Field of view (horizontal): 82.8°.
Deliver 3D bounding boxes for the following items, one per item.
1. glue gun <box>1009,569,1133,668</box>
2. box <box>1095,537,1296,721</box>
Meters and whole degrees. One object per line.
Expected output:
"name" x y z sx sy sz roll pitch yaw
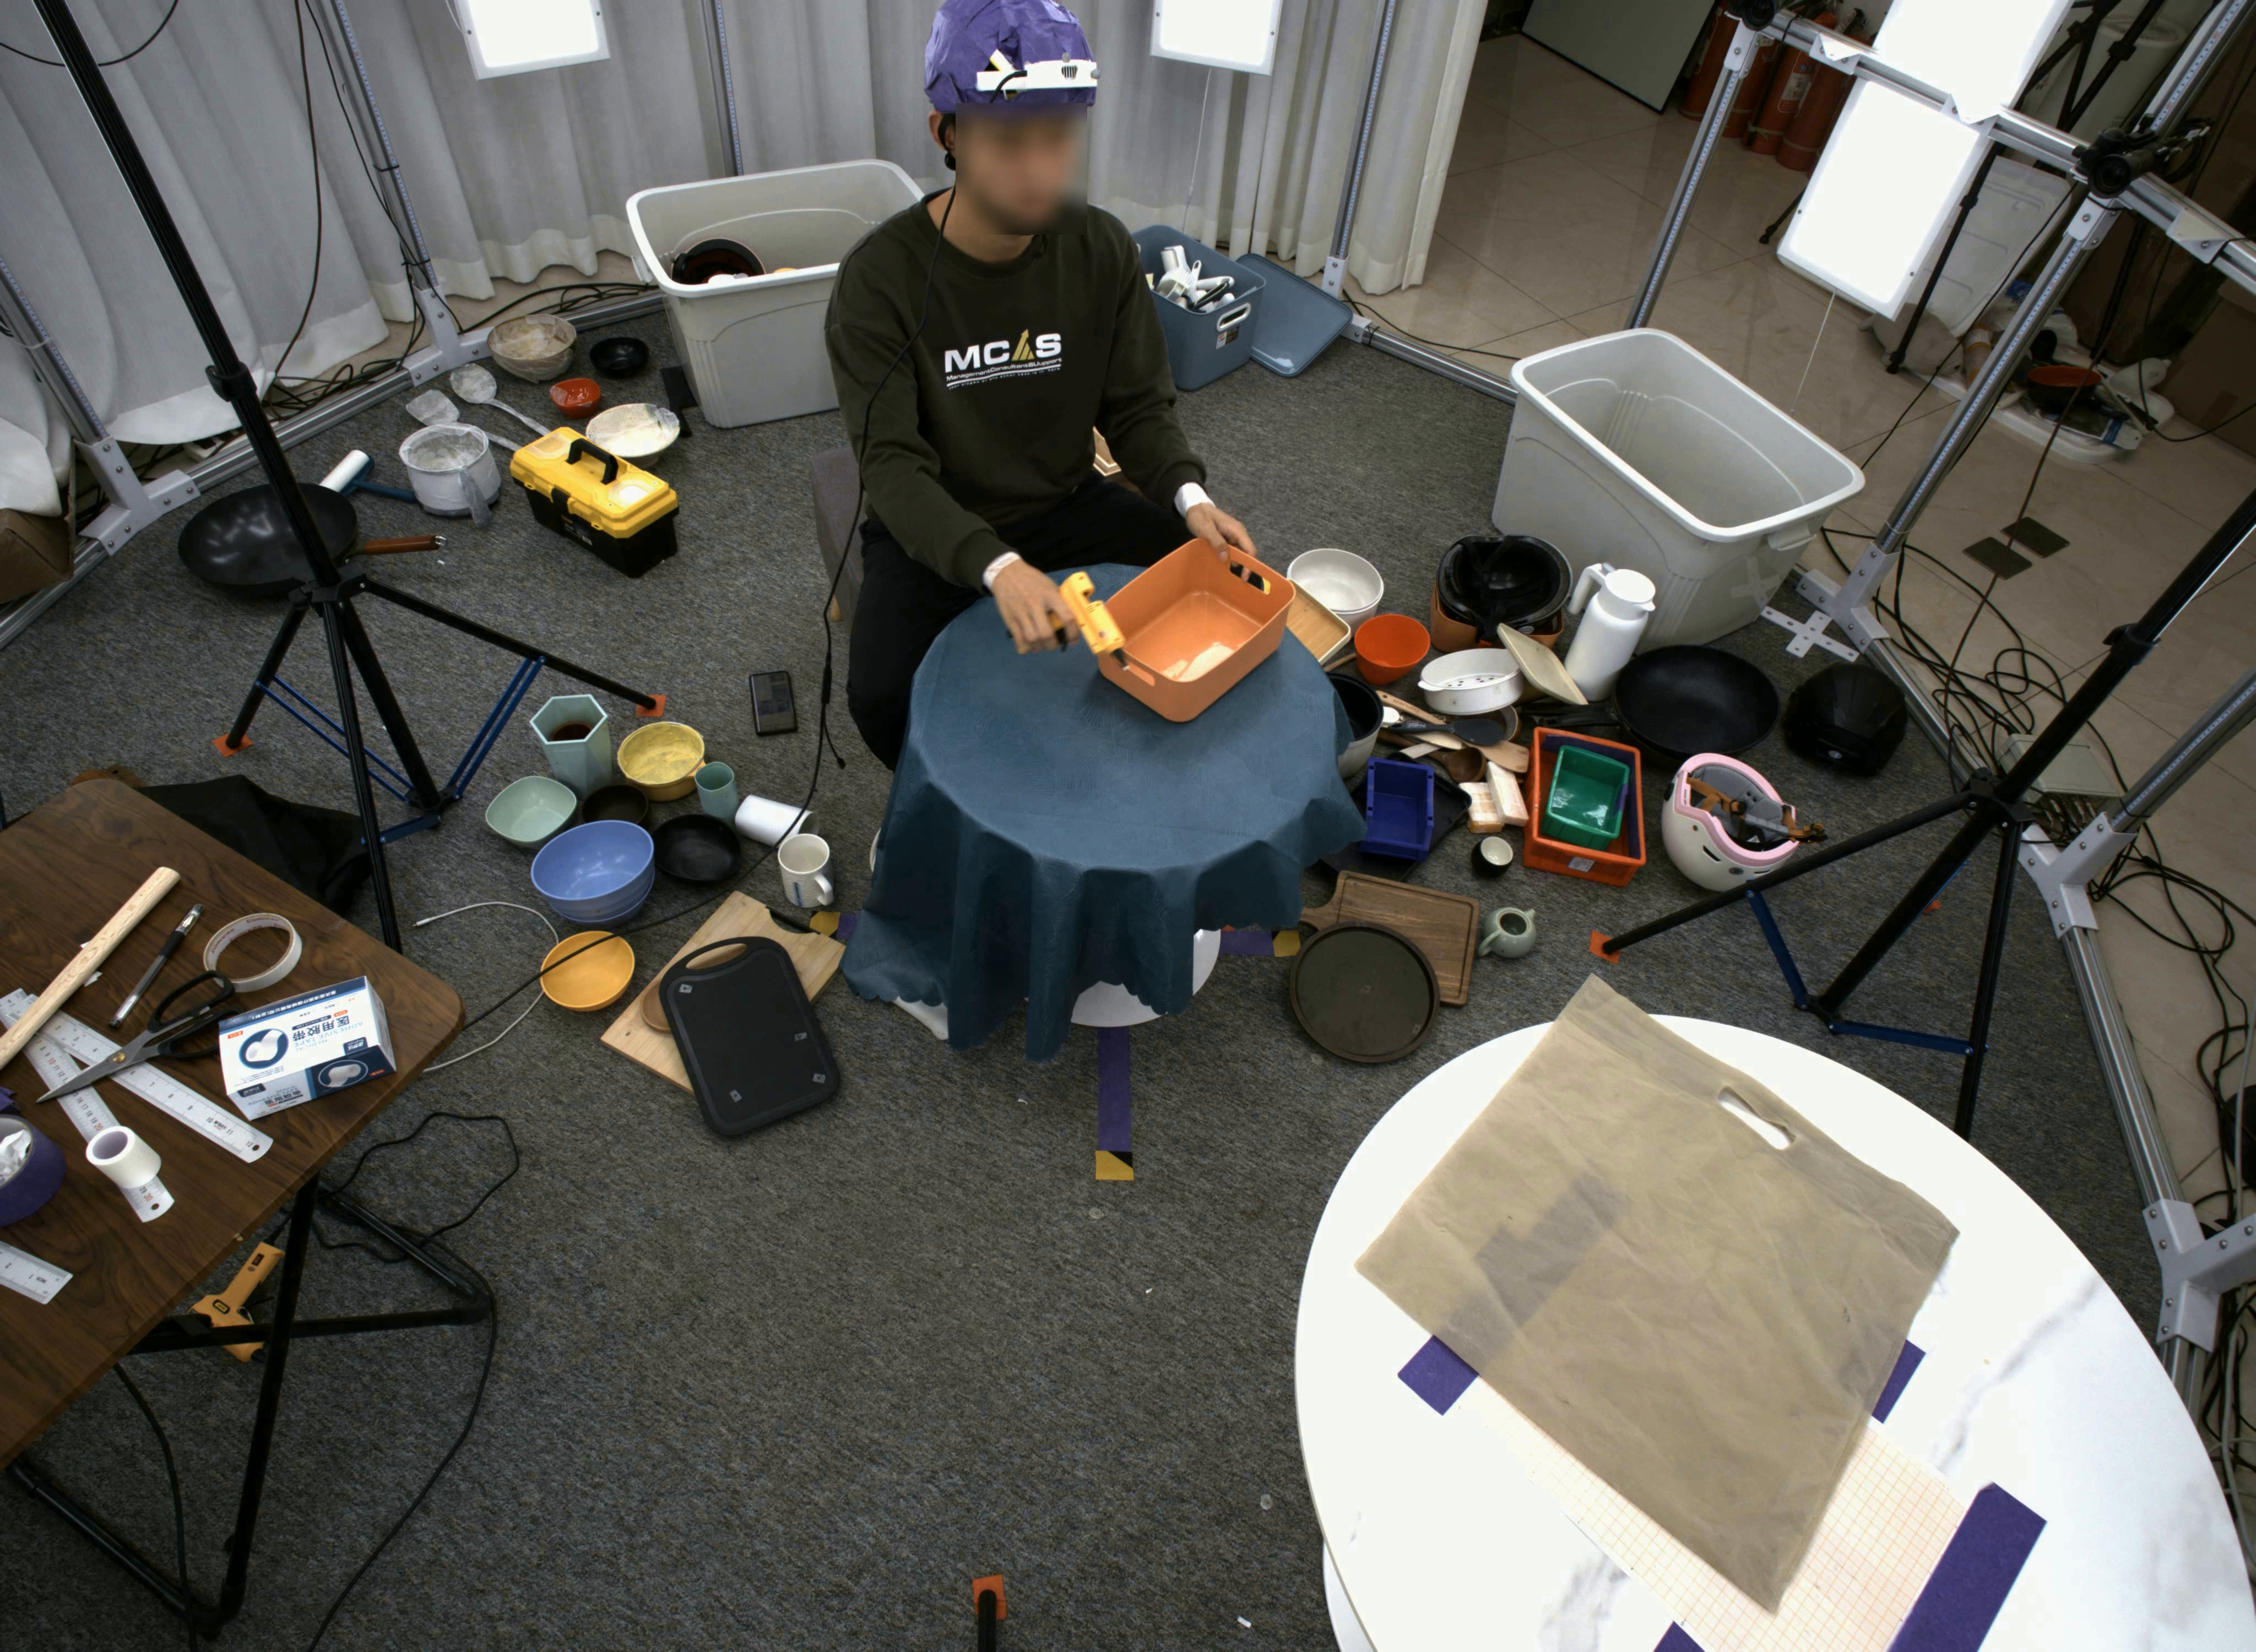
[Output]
"glue gun" -0.067 -0.241 1.680 0.132 0.031 0.153 -38 73 9
"box" 0.093 -0.281 1.840 0.202 0.100 0.276 34 58 25
